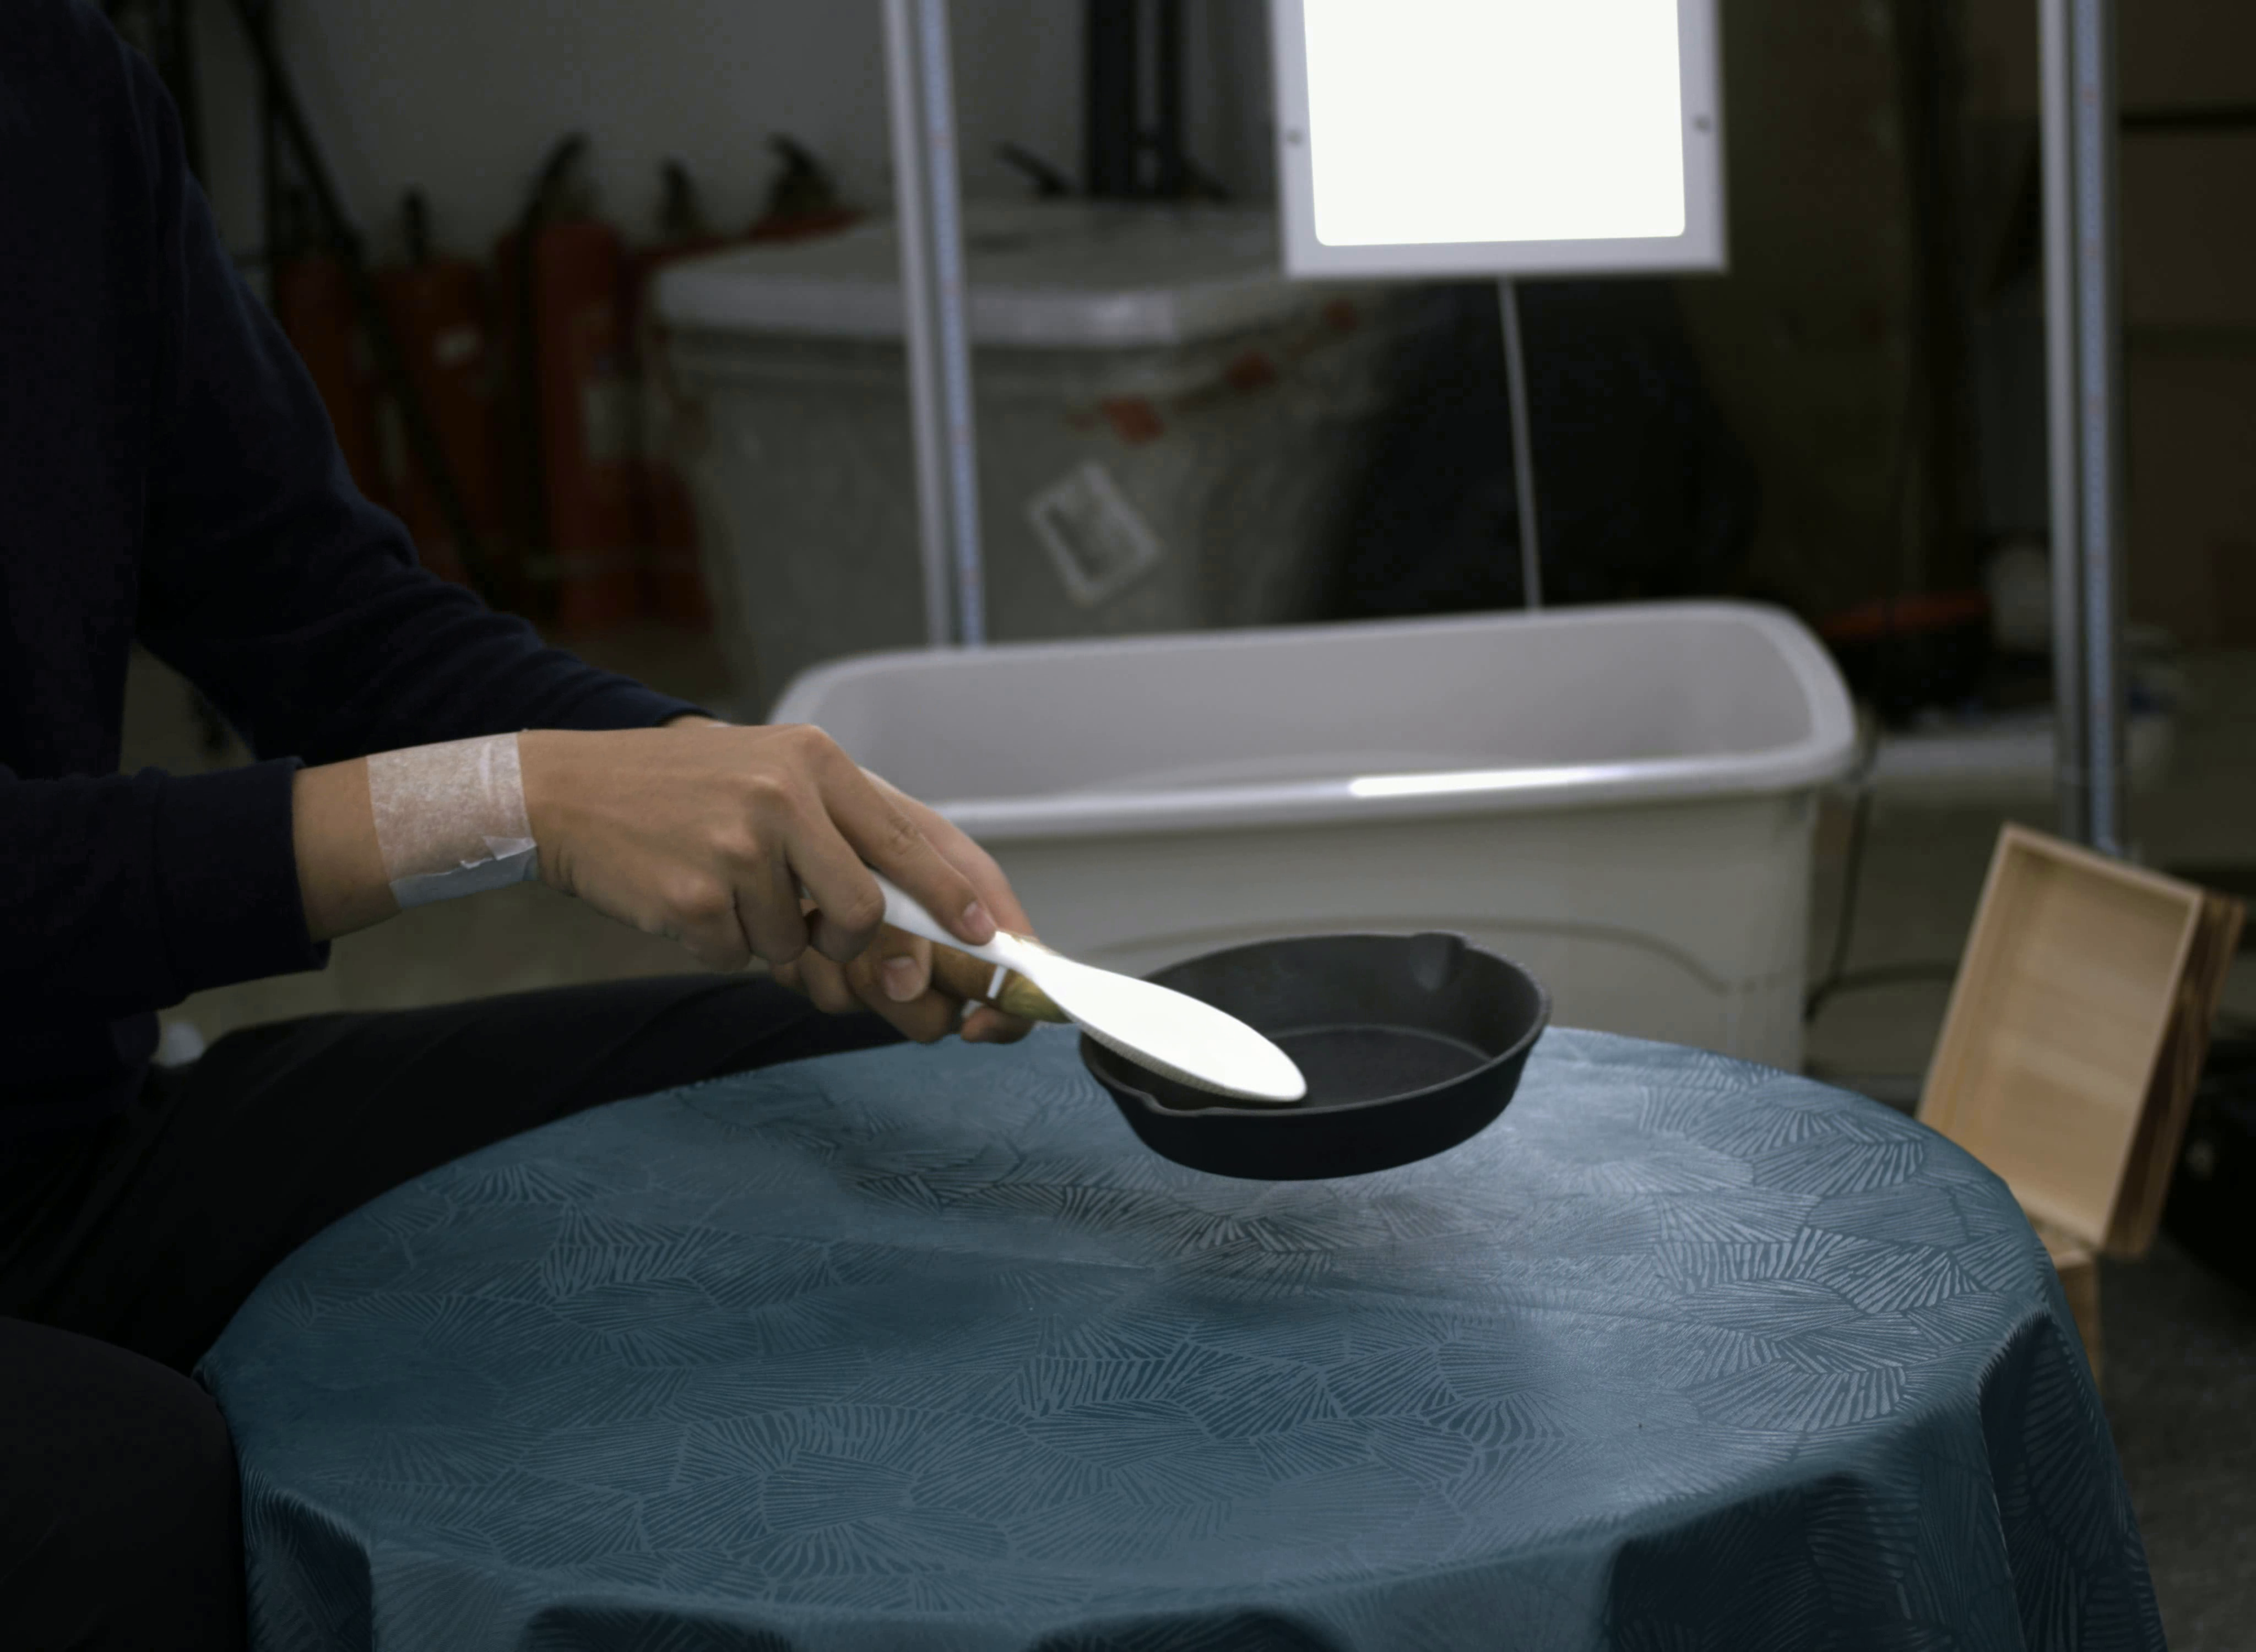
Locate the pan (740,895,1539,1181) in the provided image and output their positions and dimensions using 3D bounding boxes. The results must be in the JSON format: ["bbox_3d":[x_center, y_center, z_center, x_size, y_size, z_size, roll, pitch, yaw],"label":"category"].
[{"bbox_3d":[-0.007,0.059,1.880,0.331,0.050,0.165,11,26,39],"label":"pan"}]

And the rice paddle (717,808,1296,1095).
[{"bbox_3d":[-0.037,0.045,1.838,0.205,0.030,0.068,22,20,4],"label":"rice paddle"}]
